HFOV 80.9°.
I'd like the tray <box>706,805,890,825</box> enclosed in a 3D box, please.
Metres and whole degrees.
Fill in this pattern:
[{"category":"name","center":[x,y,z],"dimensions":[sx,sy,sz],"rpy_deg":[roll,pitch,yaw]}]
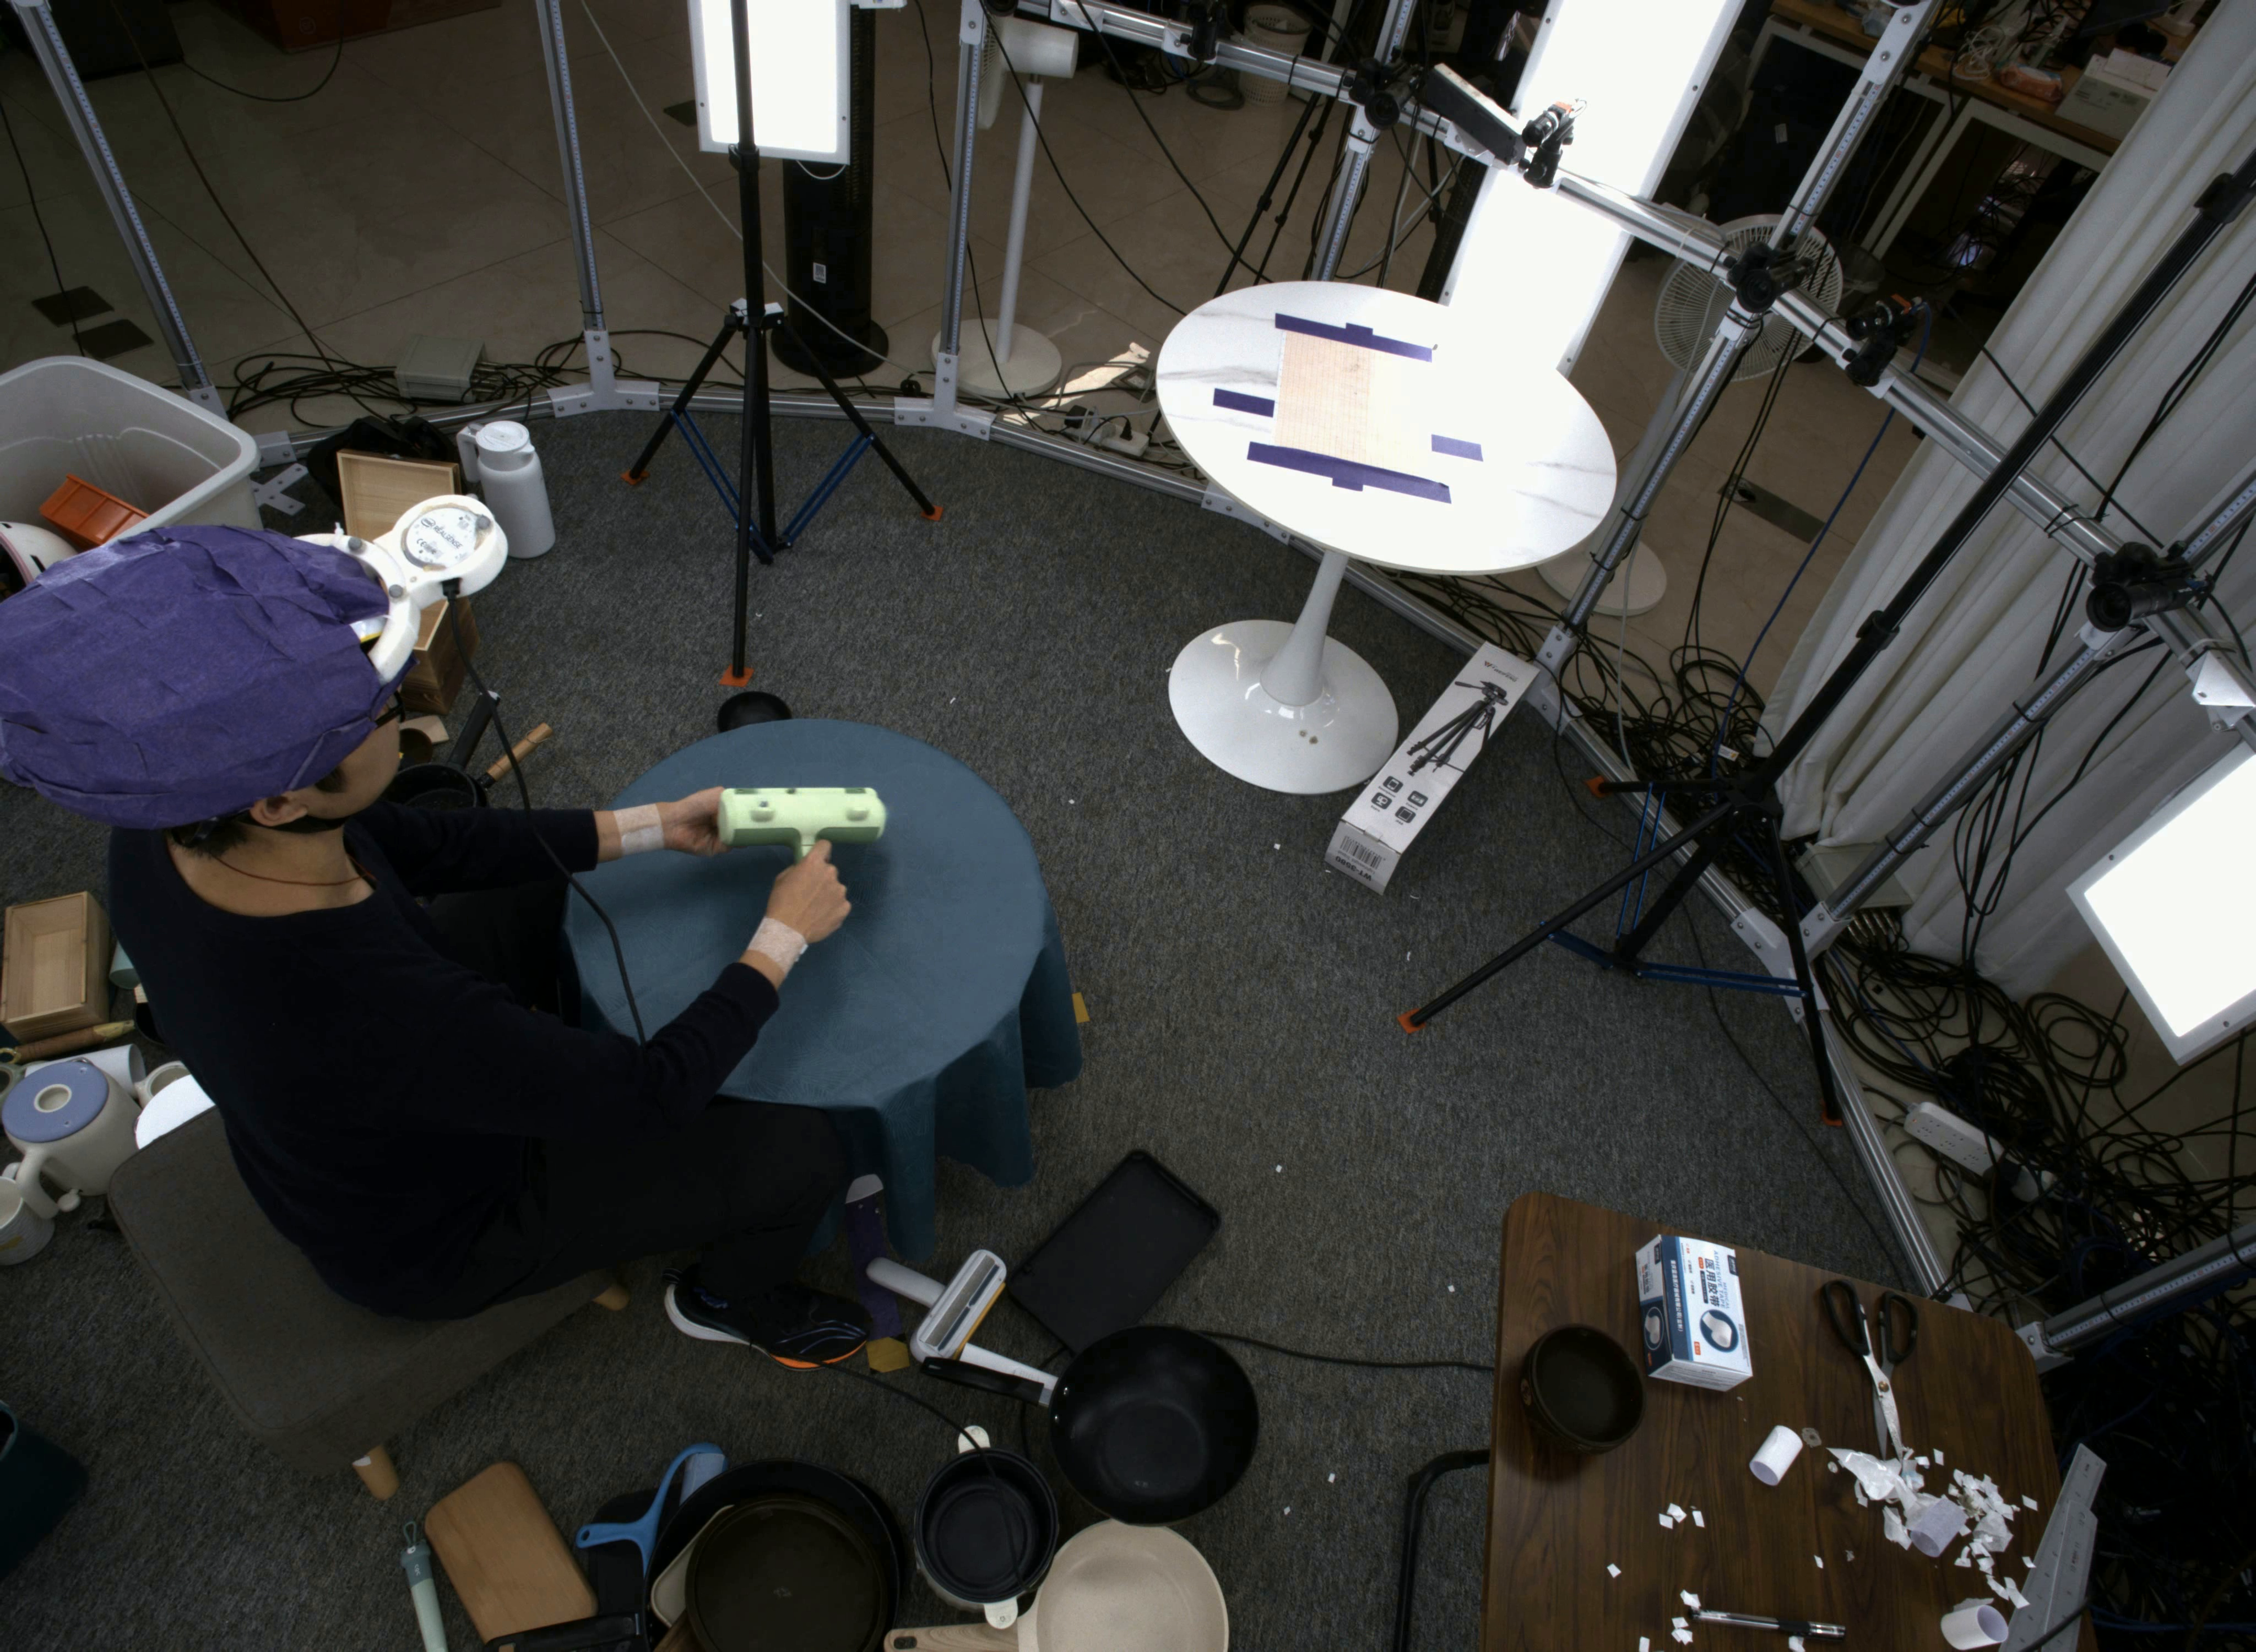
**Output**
[{"category":"tray","center":[-0.408,-0.015,1.615],"dimensions":[0.234,0.099,0.020],"rpy_deg":[-5,90,-35]}]

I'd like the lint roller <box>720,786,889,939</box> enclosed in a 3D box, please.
[{"category":"lint roller","center":[-0.365,0.033,1.519],"dimensions":[0.202,0.082,0.180],"rpy_deg":[-1,62,-35]}]
